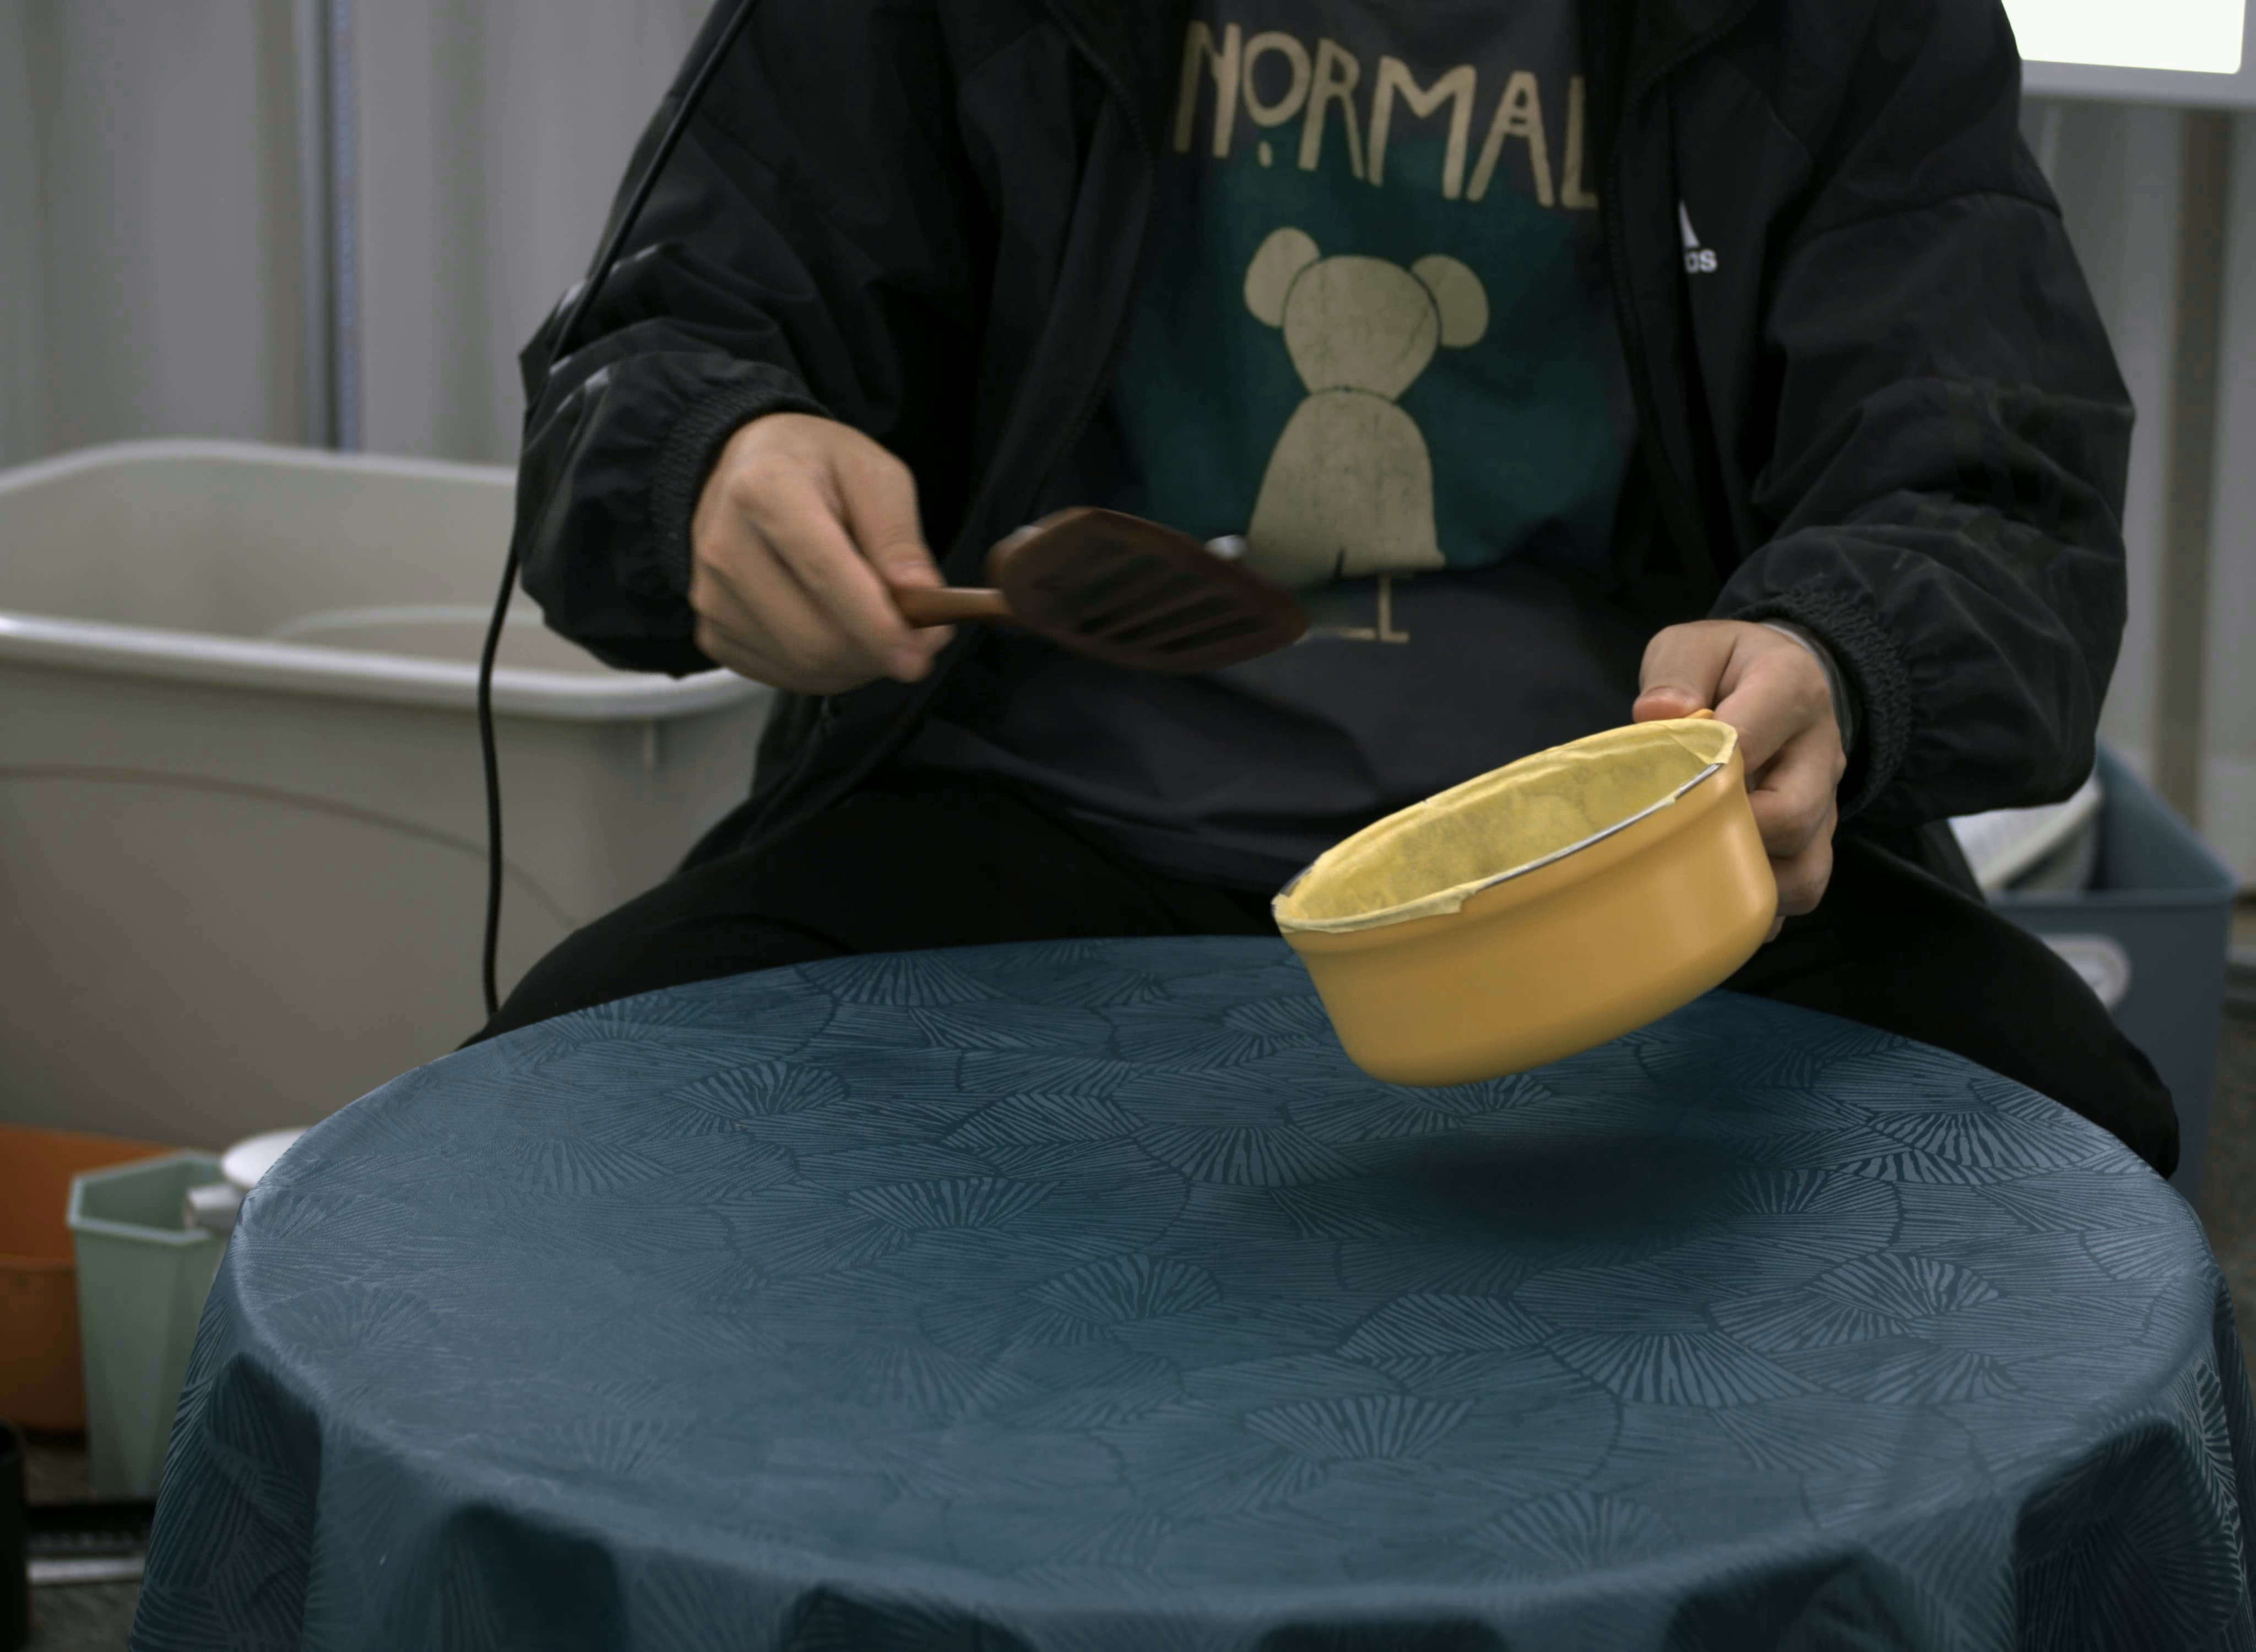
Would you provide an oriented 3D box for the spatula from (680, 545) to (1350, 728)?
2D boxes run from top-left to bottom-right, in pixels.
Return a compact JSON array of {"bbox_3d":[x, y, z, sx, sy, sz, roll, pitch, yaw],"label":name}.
[{"bbox_3d":[-0.058,-0.069,1.719,0.086,0.024,0.382,35,-11,-30],"label":"spatula"}]

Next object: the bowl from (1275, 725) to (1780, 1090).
[{"bbox_3d":[0.136,0.024,1.626,0.151,0.075,0.179,-13,14,38],"label":"bowl"}]
